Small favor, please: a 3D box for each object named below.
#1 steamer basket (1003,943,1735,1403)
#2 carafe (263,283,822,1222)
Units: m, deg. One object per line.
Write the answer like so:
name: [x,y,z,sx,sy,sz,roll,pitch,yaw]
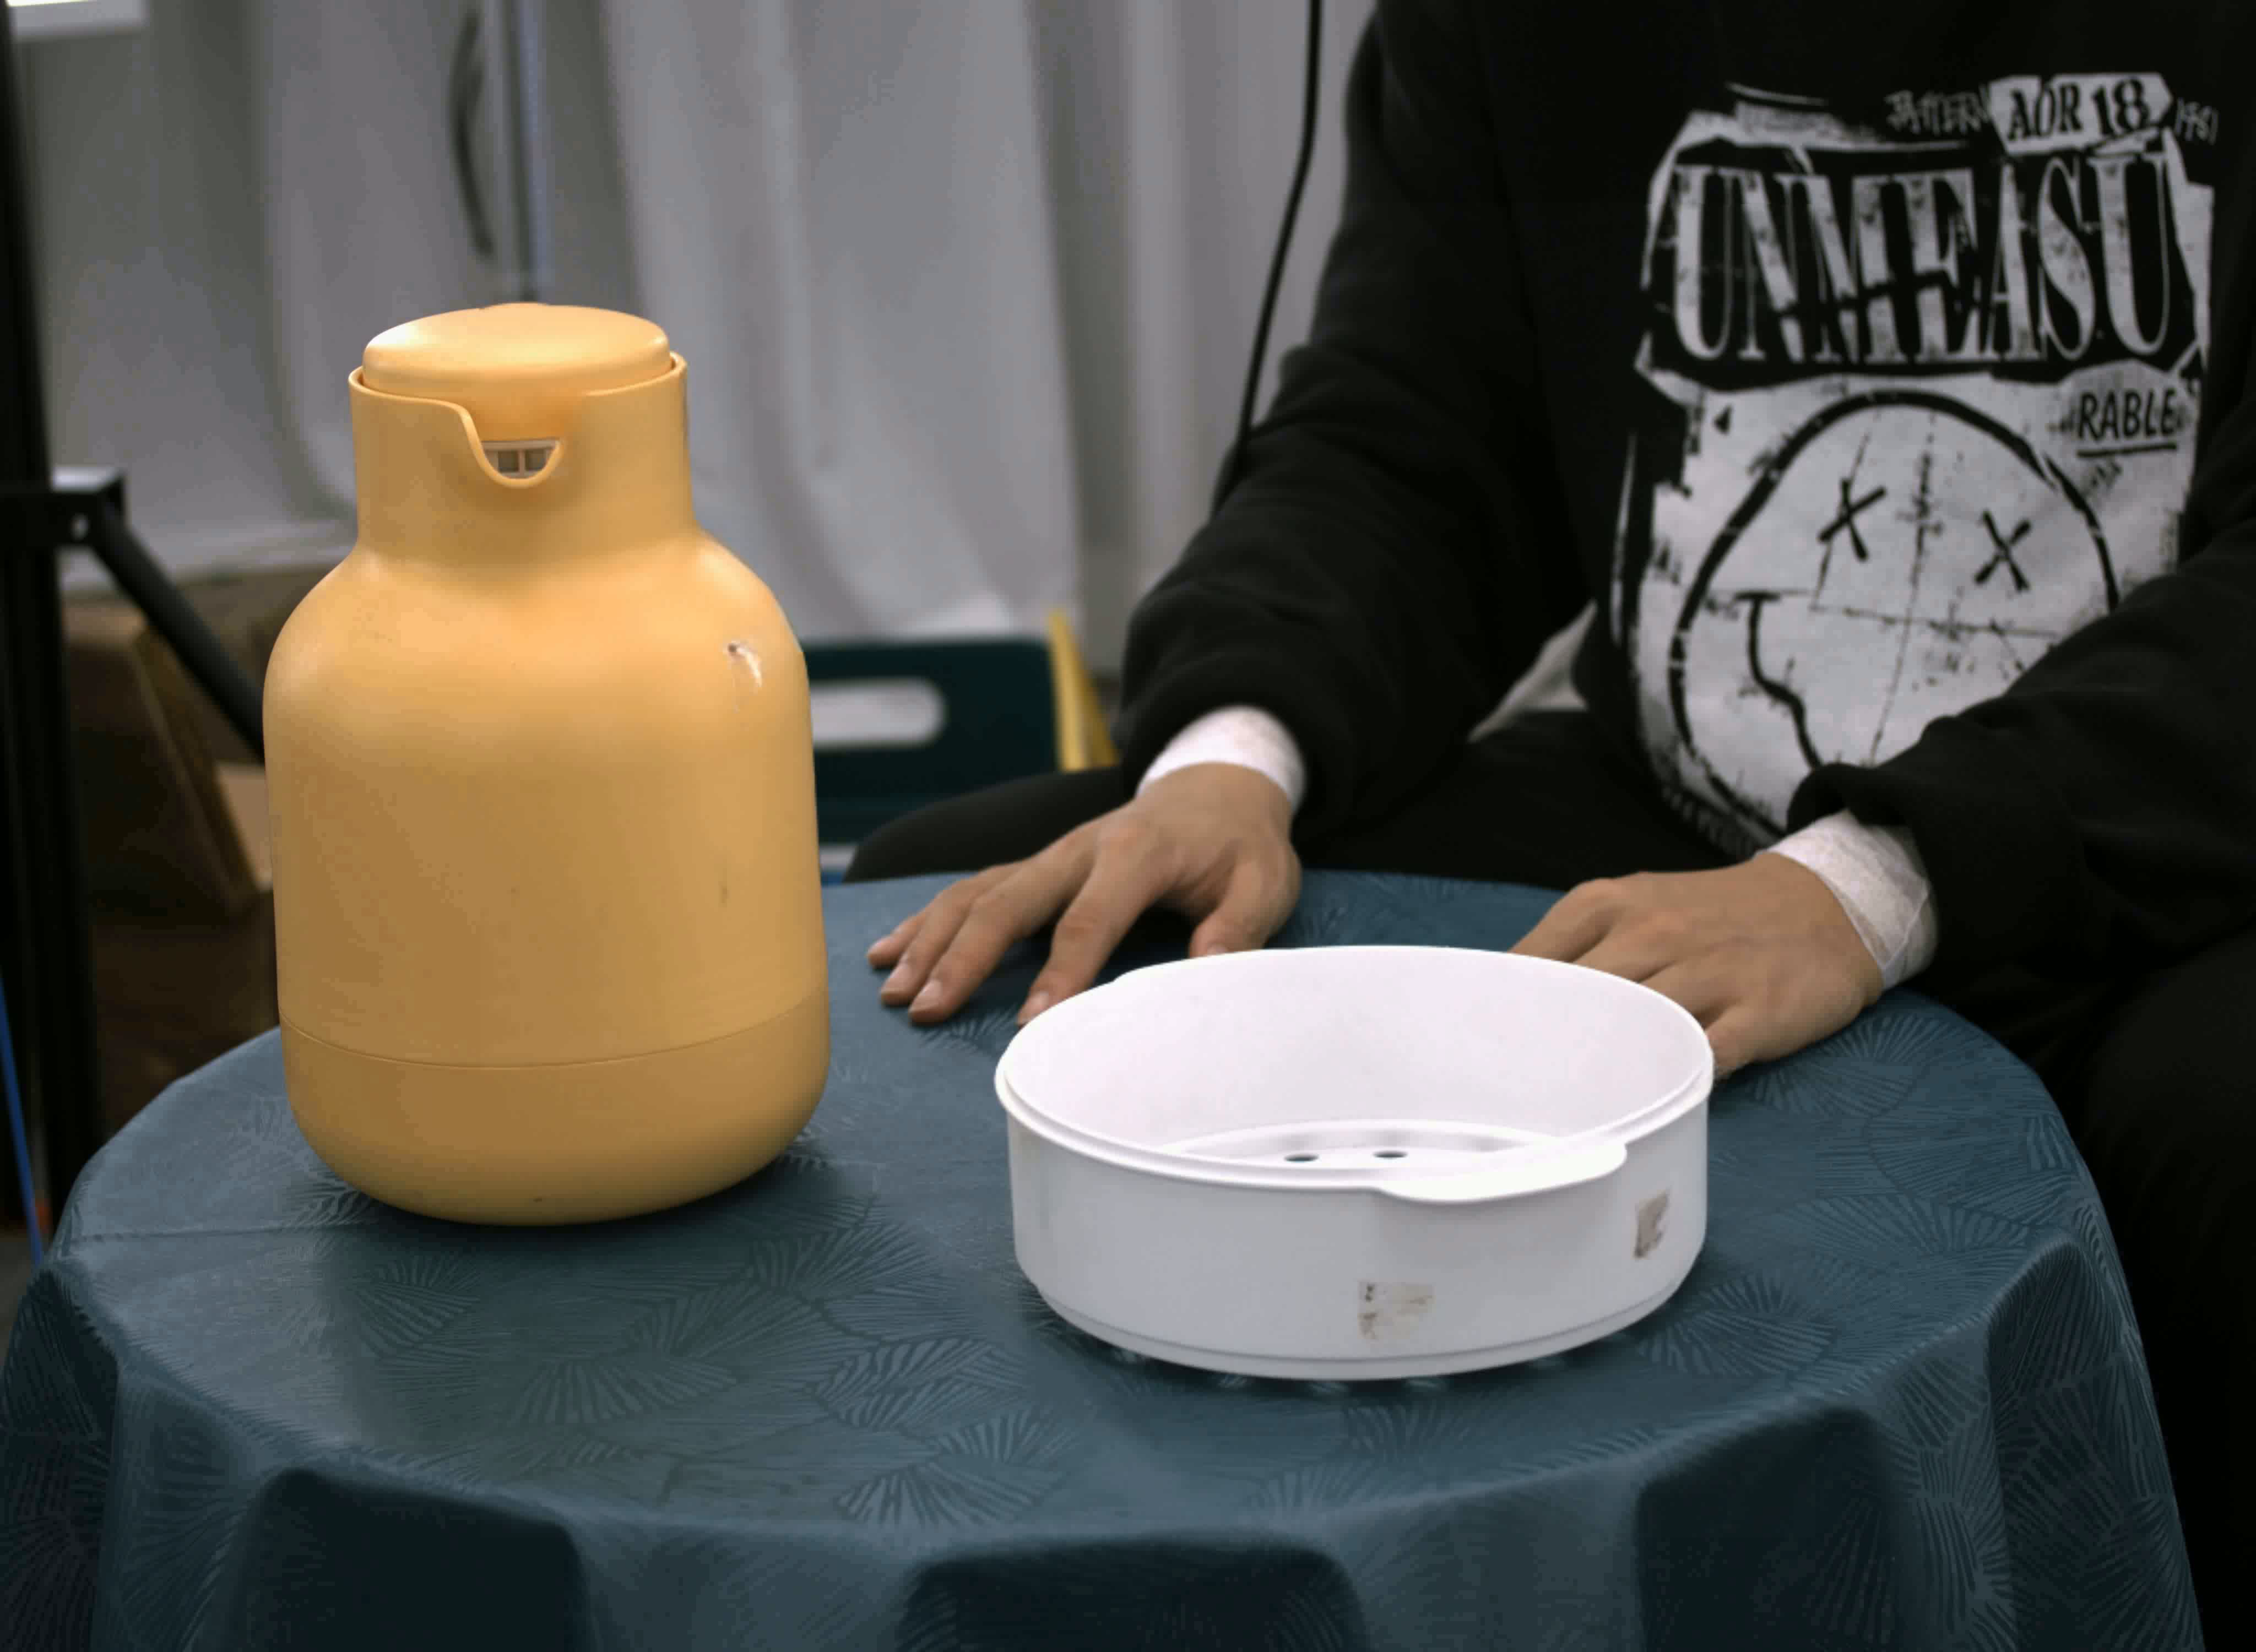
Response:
steamer basket: [0.066,0.095,1.465,0.198,0.069,0.235,-7,19,-20]
carafe: [-0.173,-0.030,1.589,0.162,0.260,0.203,0,17,-2]
